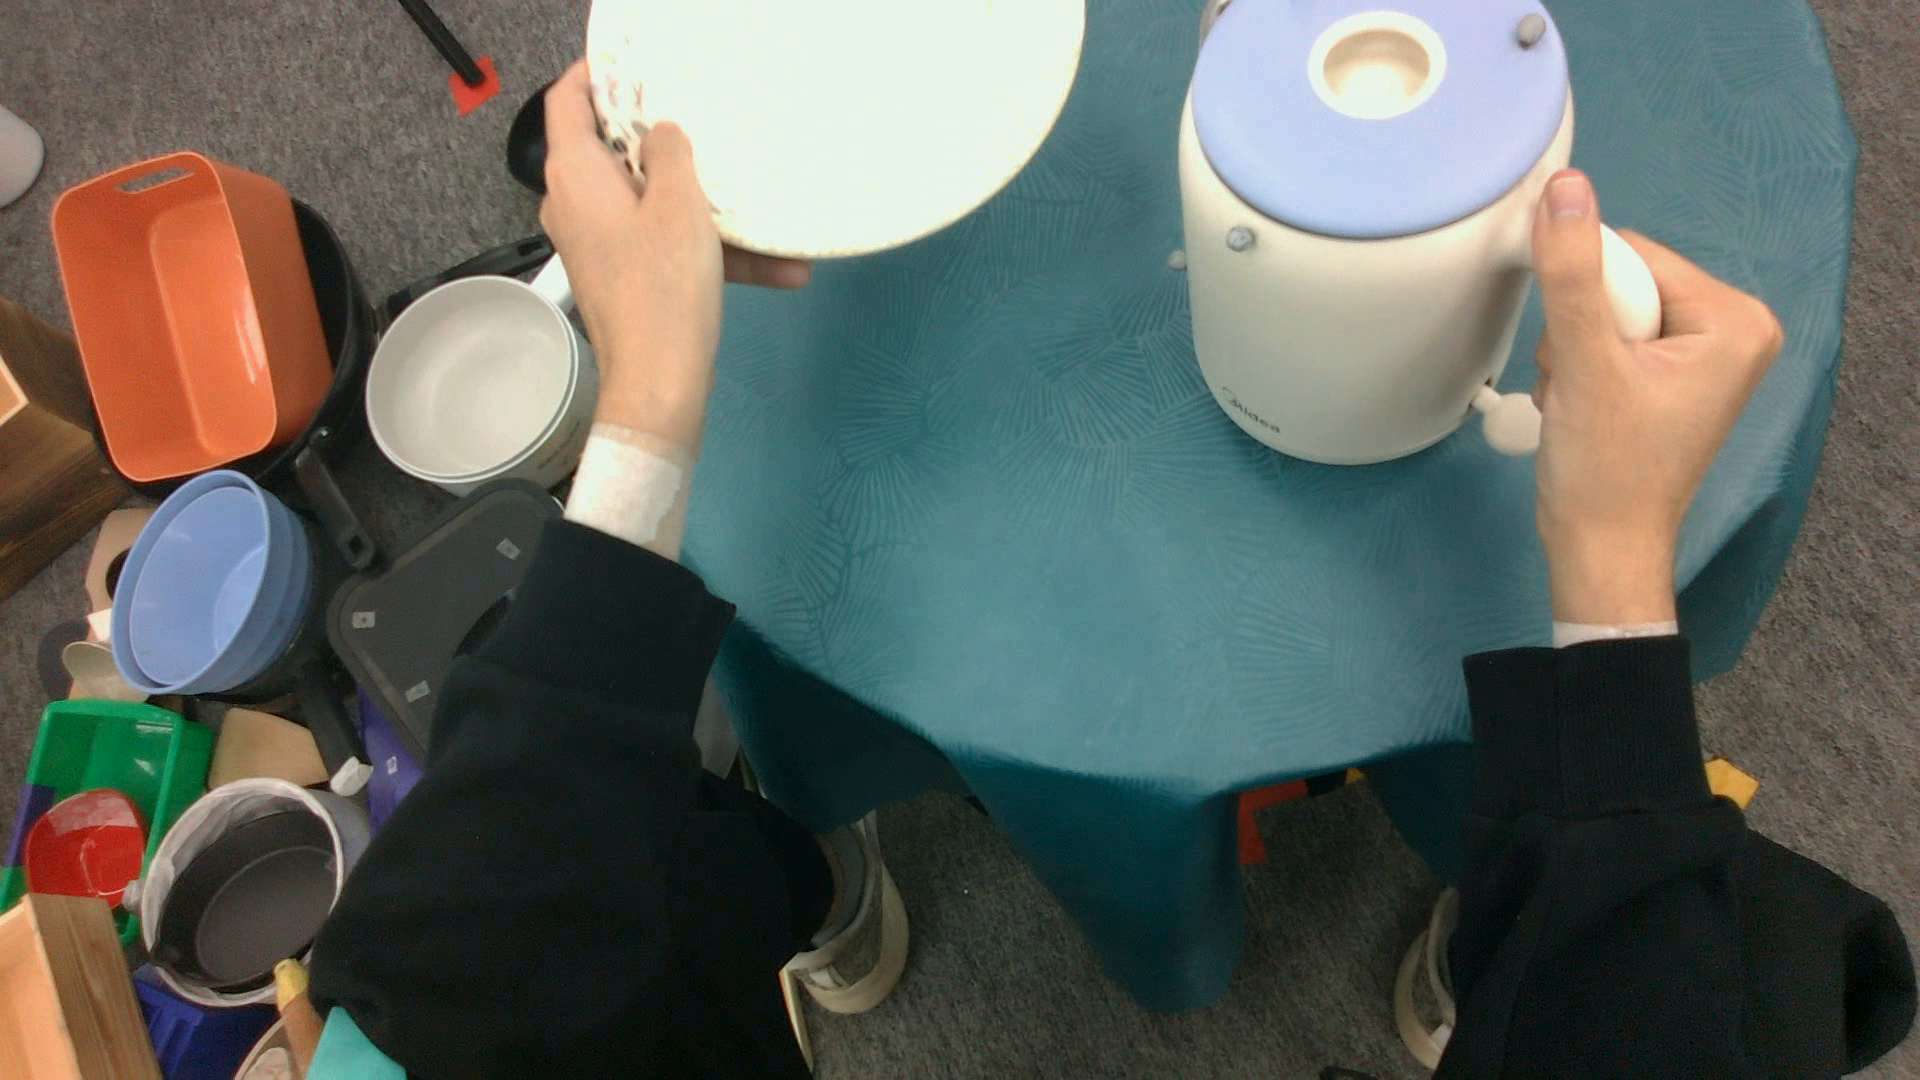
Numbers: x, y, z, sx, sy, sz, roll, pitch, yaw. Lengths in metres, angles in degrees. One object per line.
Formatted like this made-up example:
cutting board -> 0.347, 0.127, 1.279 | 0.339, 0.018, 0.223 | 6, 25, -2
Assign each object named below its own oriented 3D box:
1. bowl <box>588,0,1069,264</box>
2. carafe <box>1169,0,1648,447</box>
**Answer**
bowl -> -0.052, -0.200, 0.605 | 0.204, 0.078, 0.204 | -2, 76, 6
carafe -> 0.166, -0.112, 0.525 | 0.191, 0.182, 0.132 | 39, 81, 19
